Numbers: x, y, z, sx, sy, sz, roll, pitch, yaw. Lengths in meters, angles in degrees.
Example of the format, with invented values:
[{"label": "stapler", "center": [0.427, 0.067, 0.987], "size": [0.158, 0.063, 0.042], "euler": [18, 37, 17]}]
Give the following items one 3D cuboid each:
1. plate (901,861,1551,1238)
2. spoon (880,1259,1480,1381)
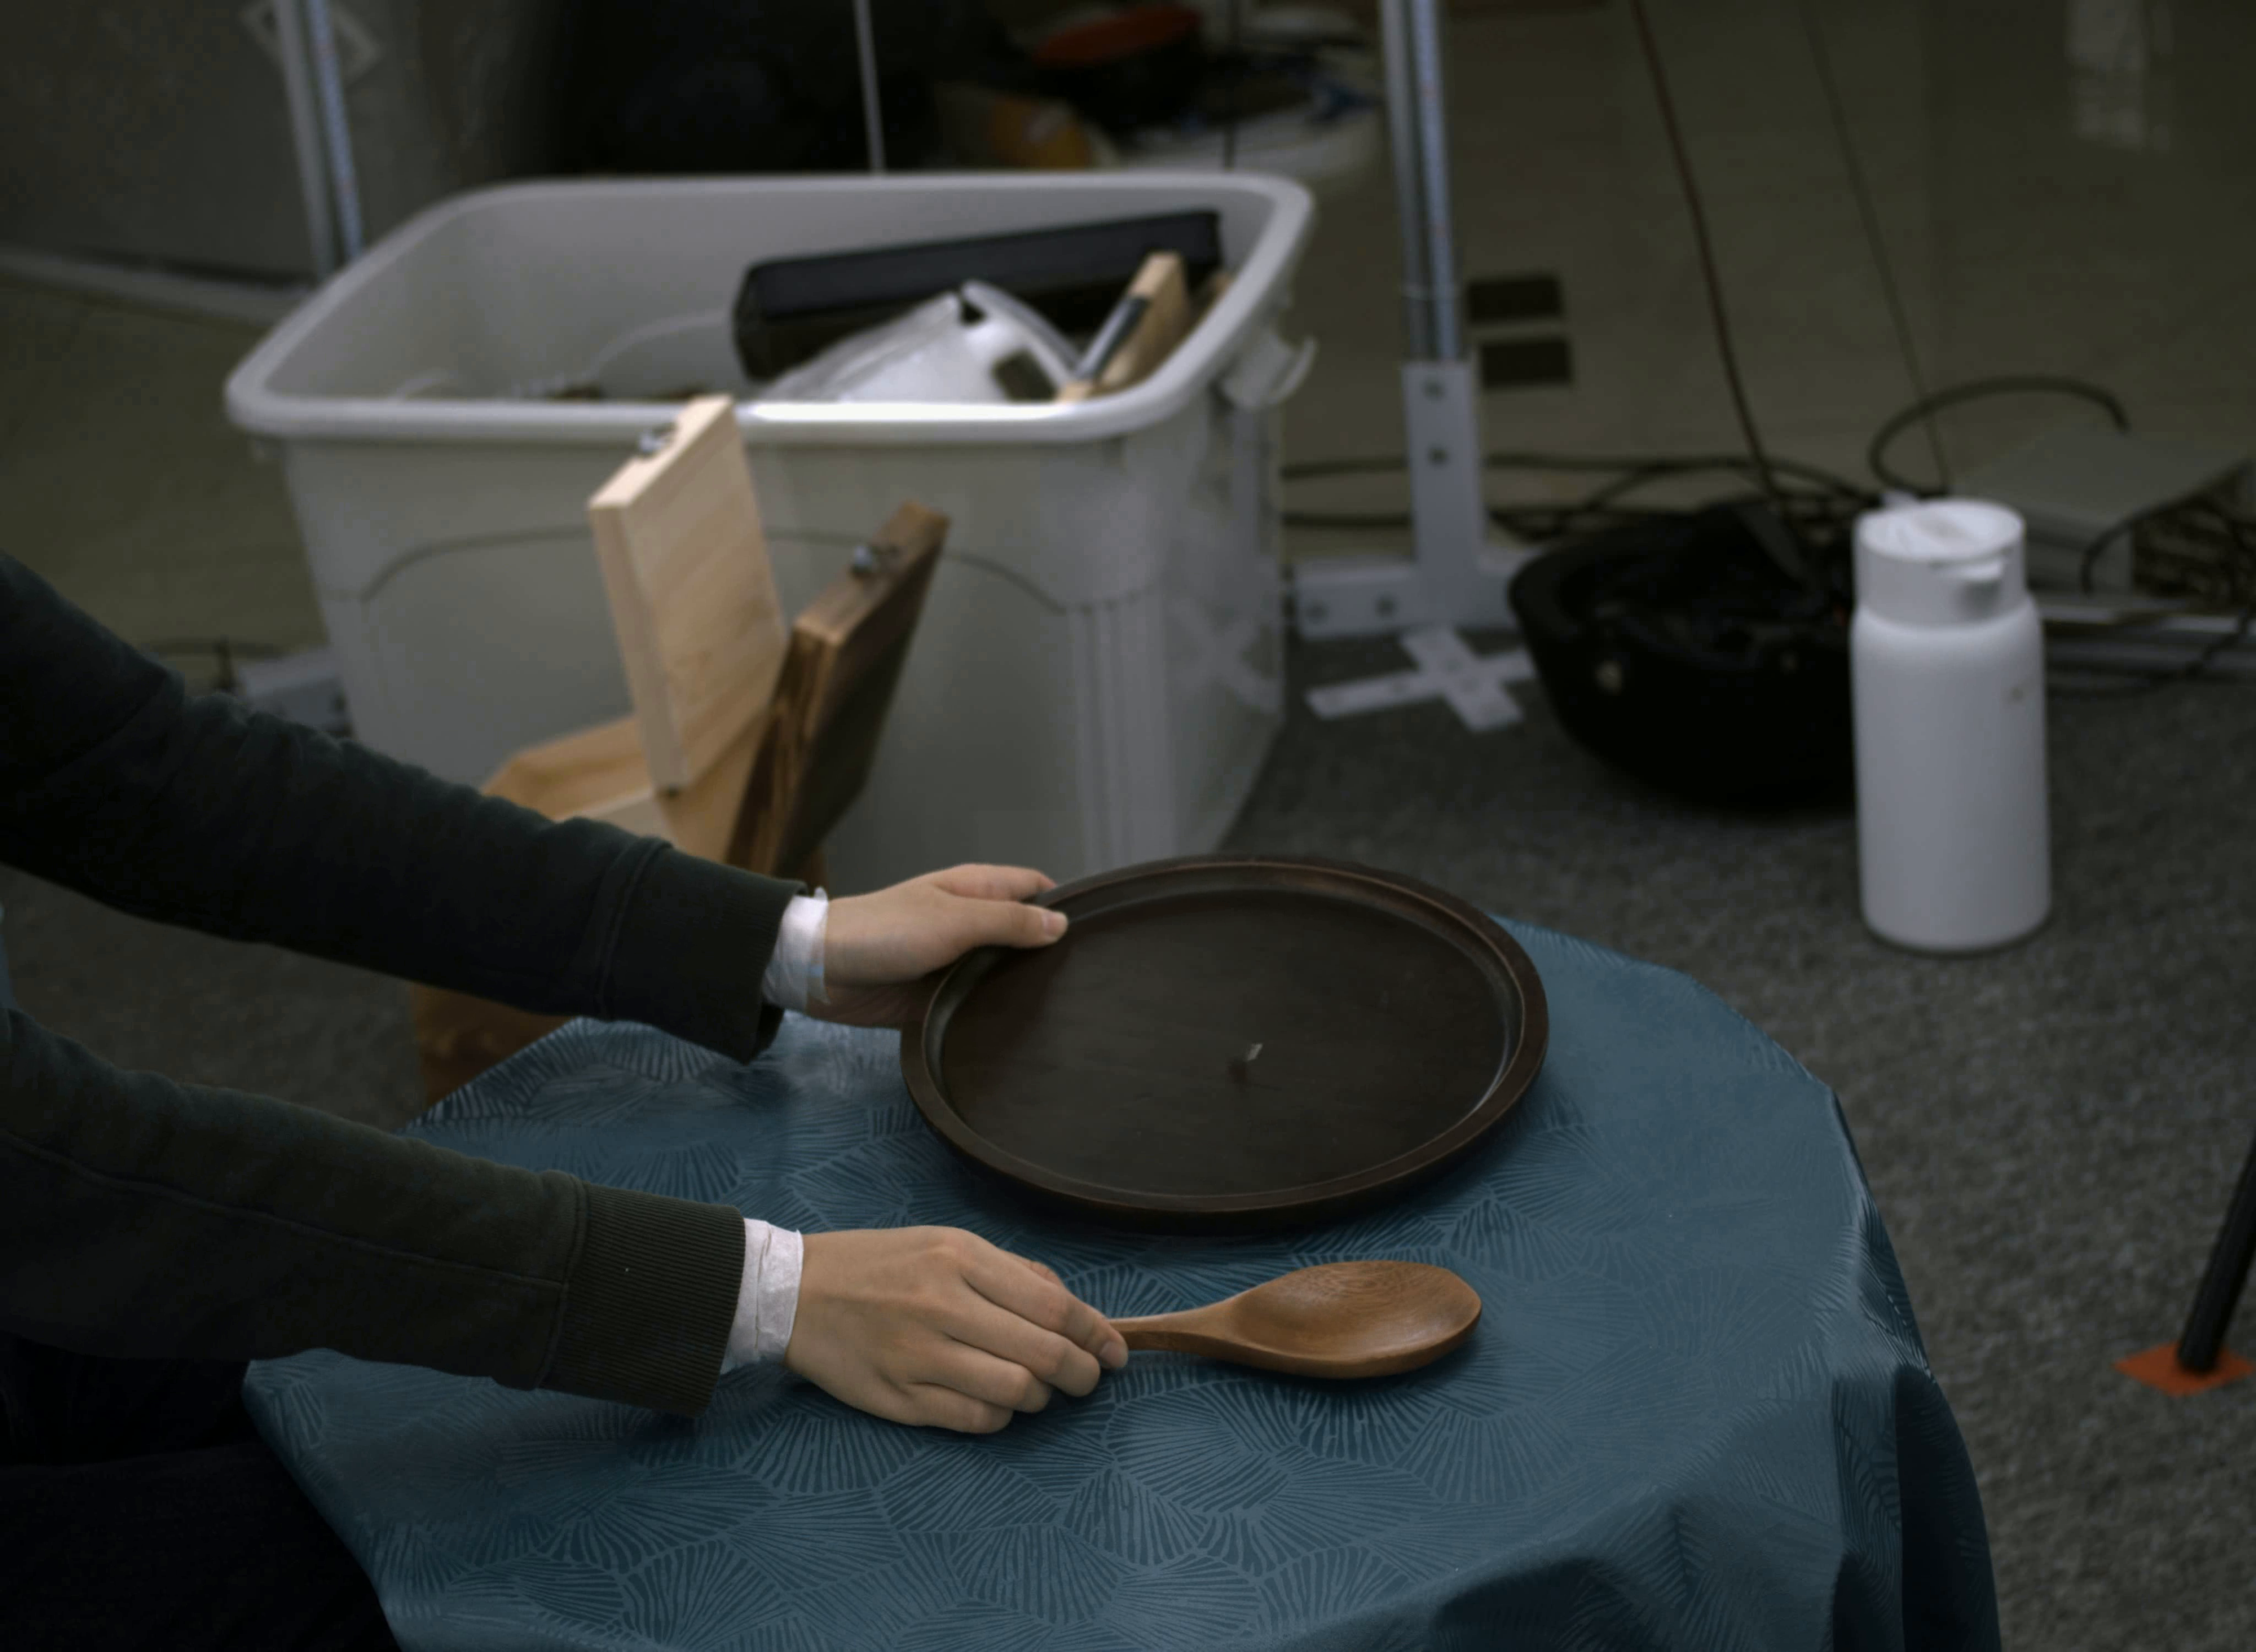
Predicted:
[{"label": "plate", "center": [0.038, 0.085, 2.200], "size": [0.254, 0.029, 0.250], "euler": [-2, 31, 1]}, {"label": "spoon", "center": [0.018, 0.181, 2.032], "size": [0.215, 0.017, 0.074], "euler": [-2, 25, 4]}]
